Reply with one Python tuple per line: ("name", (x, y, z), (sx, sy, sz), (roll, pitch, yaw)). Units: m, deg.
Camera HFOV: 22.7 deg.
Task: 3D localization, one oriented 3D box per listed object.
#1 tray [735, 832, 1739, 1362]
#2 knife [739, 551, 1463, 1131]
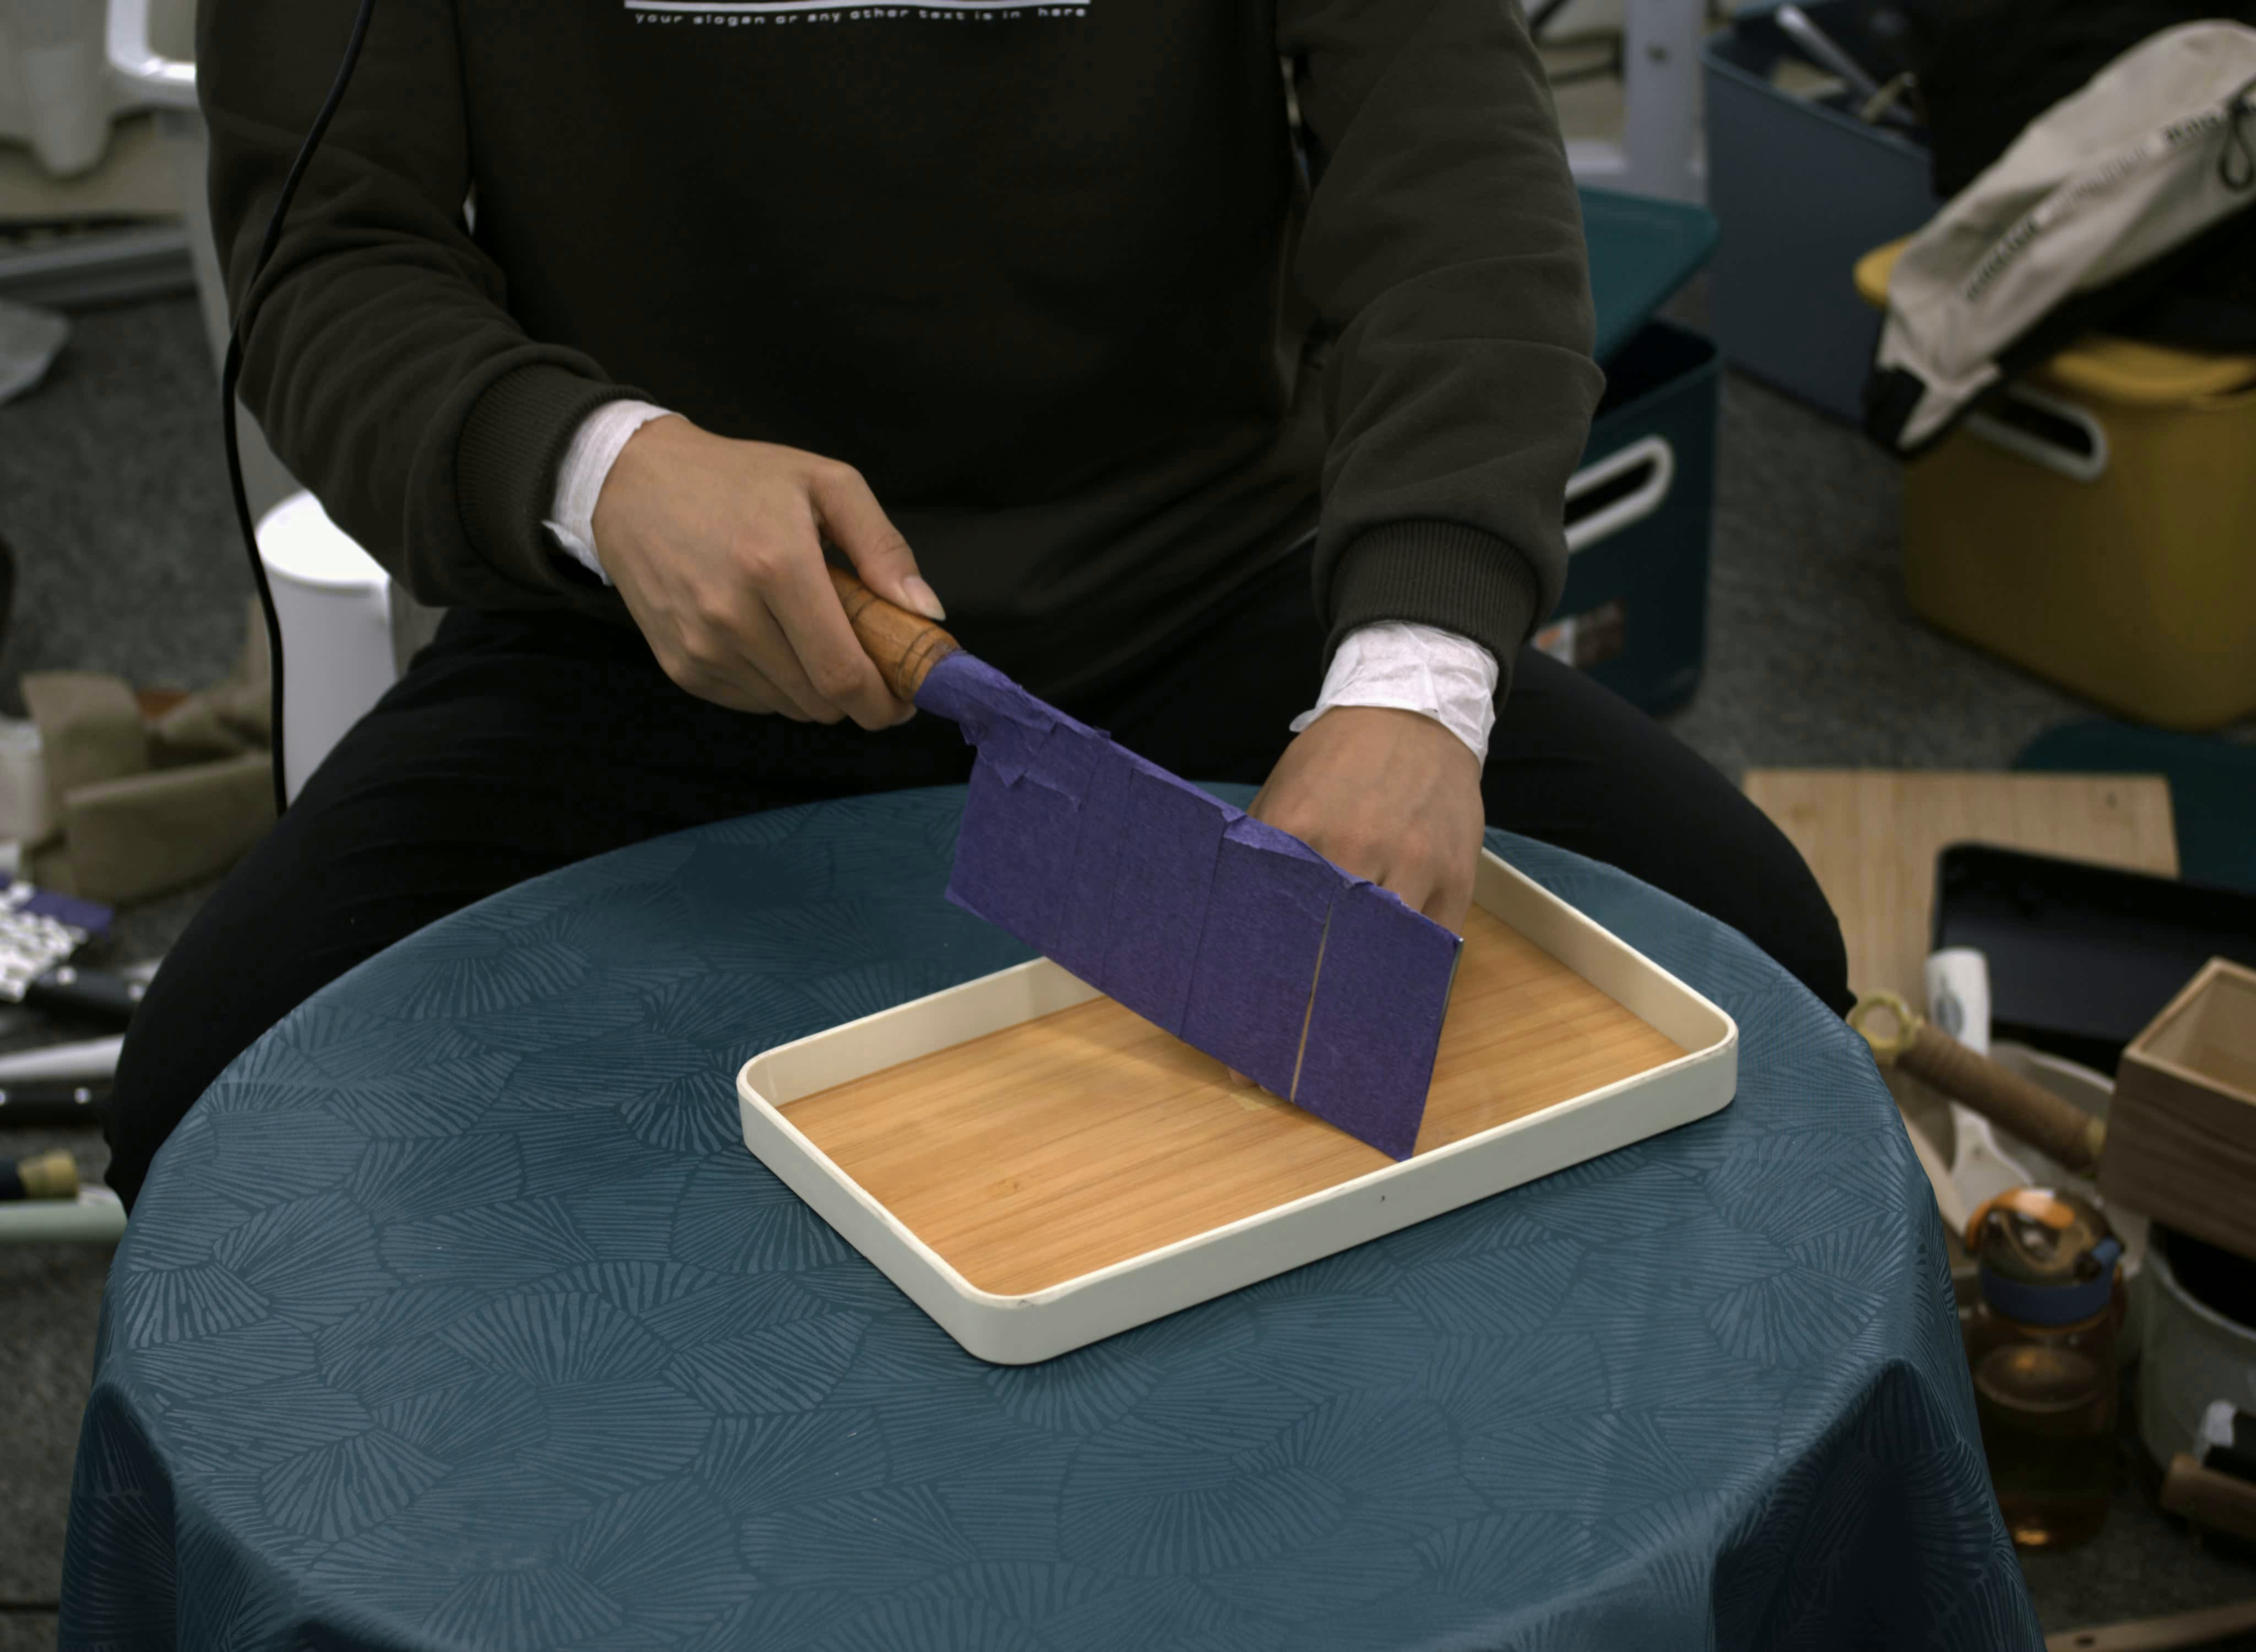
("tray", (0.037, 0.086, 1.897), (0.302, 0.027, 0.192), (-18, 30, -26))
("knife", (-0.018, 0.007, 1.914), (0.315, 0.103, 0.032), (30, 29, 32))
